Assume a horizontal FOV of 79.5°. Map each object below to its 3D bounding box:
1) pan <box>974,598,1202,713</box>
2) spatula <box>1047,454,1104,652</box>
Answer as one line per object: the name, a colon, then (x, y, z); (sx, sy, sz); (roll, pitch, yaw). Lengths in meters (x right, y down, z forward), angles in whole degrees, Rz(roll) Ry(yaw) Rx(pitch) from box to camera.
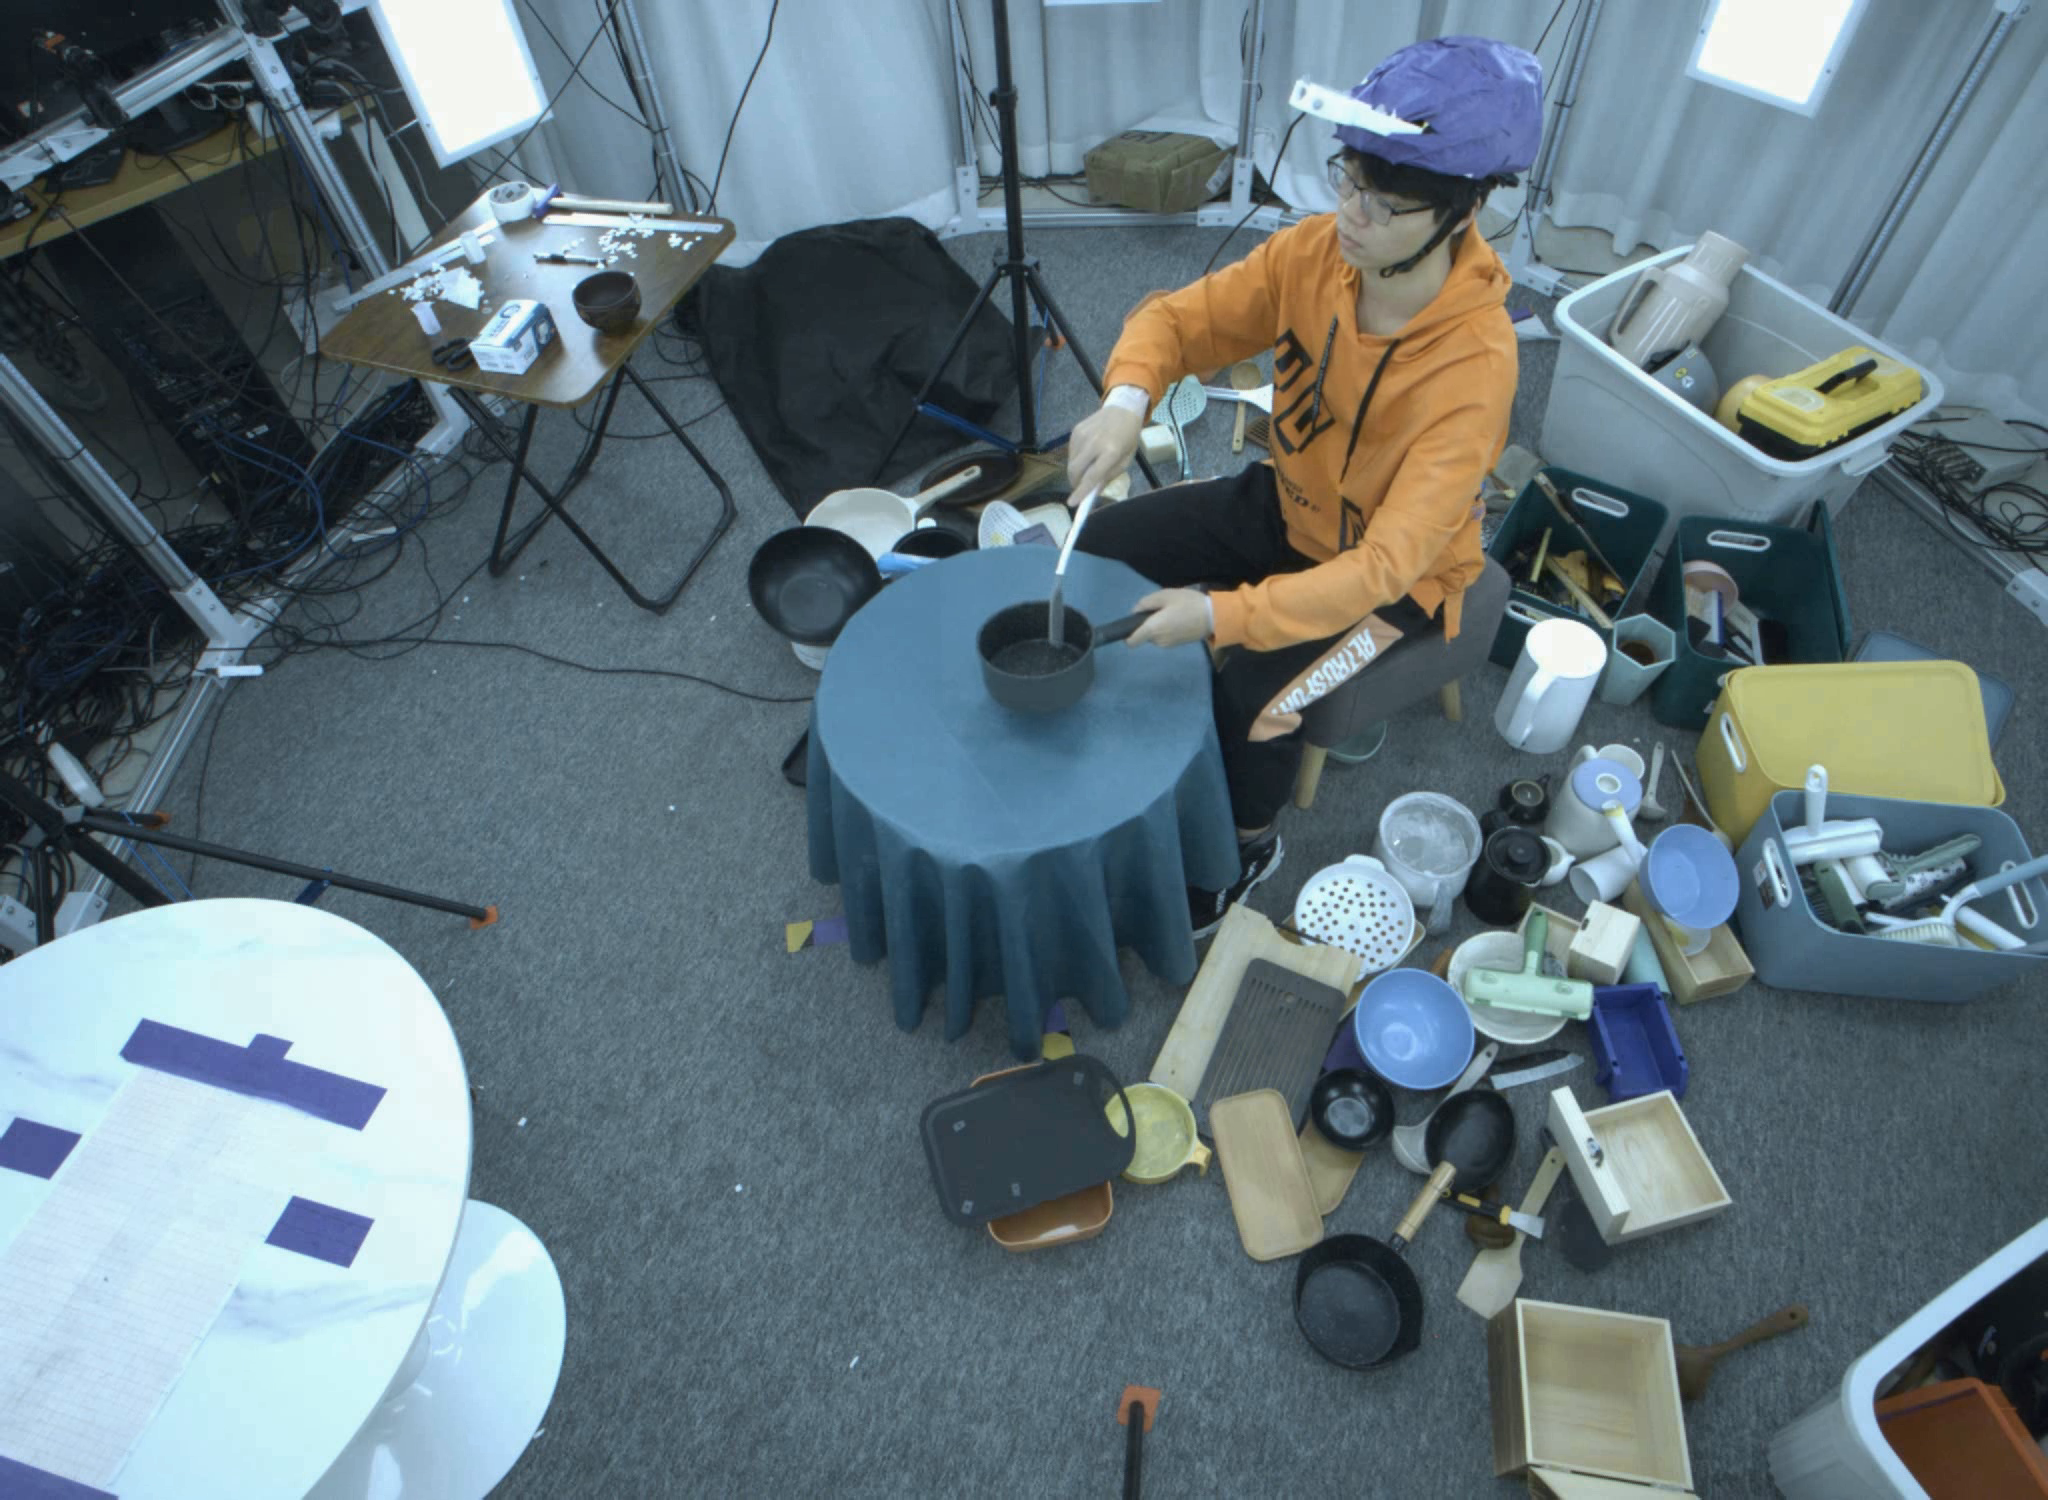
pan: (0.095, -0.151, 1.776); (0.330, 0.087, 0.169); (-12, 48, -4)
spatula: (0.066, -0.284, 1.757); (0.032, 0.059, 0.287); (13, 89, 16)
